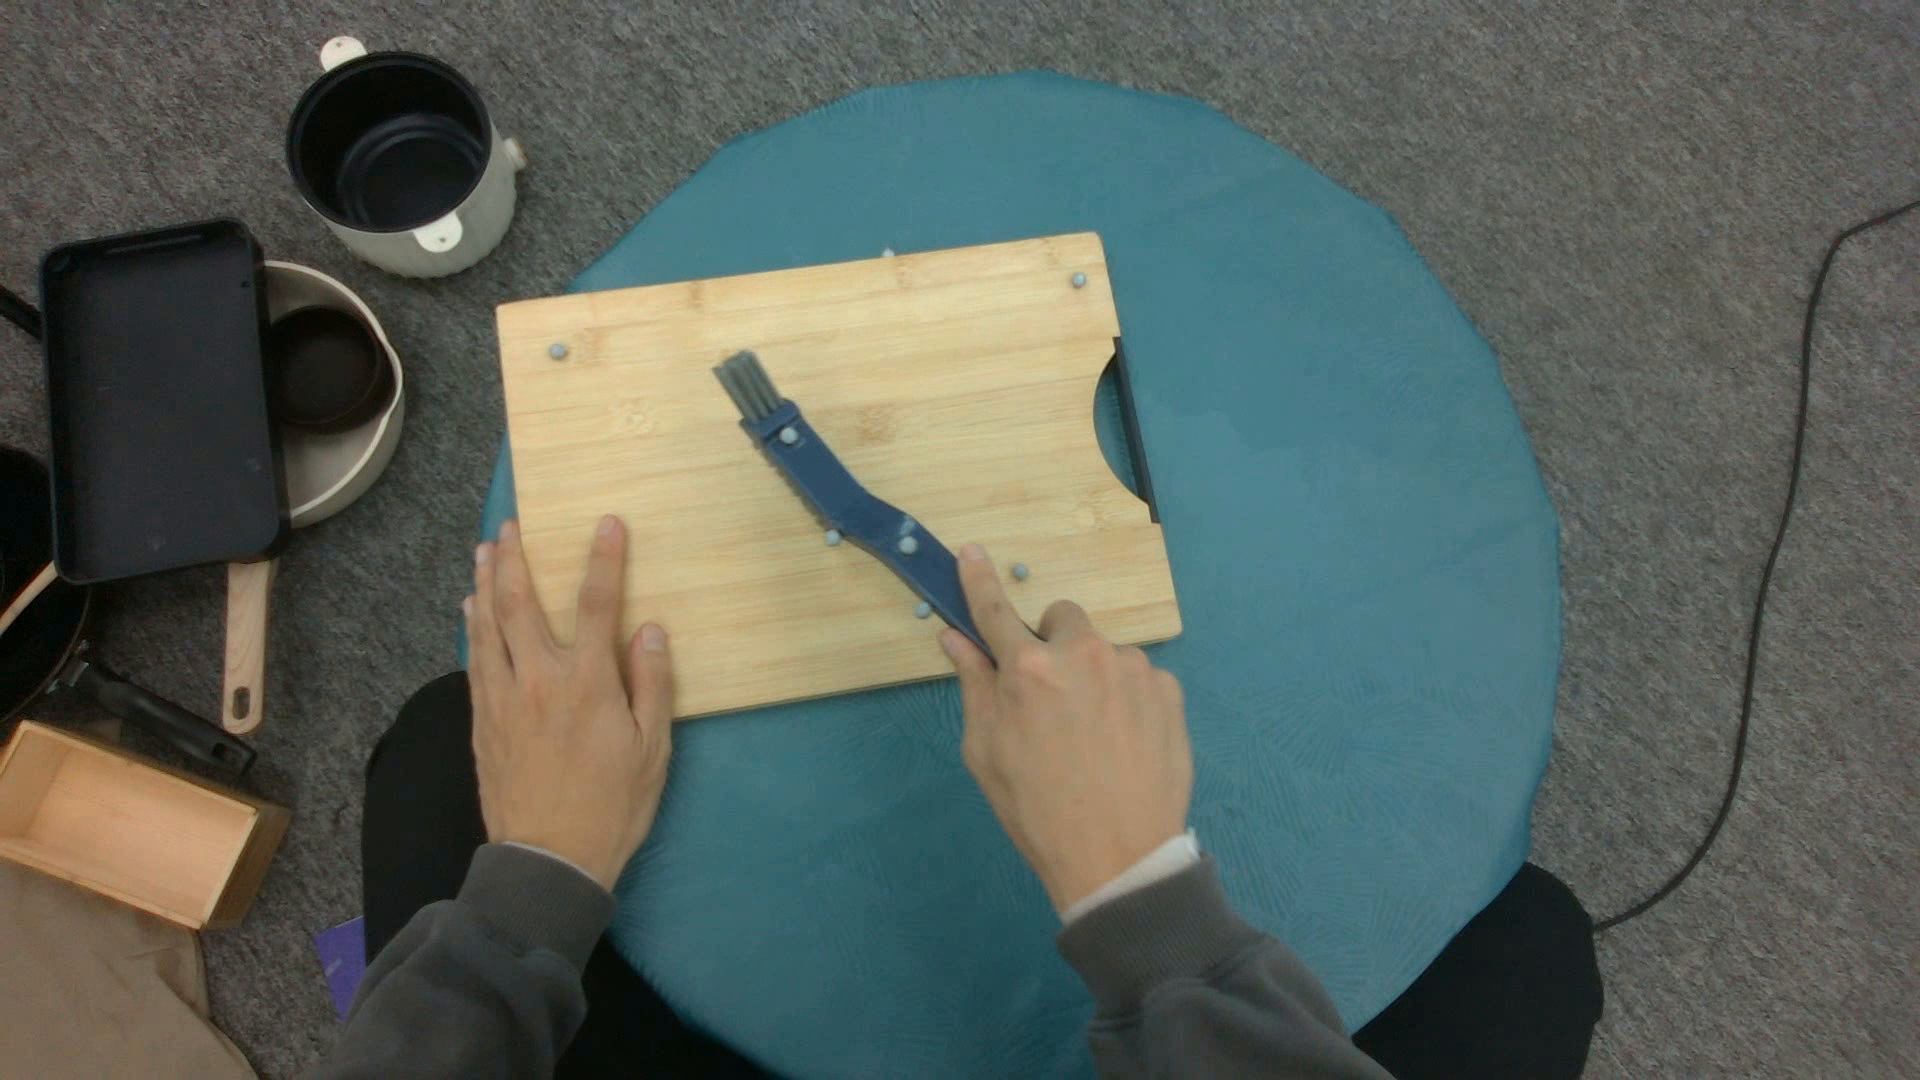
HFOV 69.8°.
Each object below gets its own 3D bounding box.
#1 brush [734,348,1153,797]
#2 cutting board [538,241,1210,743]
[{"bbox_3d":[-0.016,0.011,0.659,0.033,0.095,0.273,-37,58,-23],"label":"brush"},{"bbox_3d":[-0.054,-0.033,0.771,0.349,0.023,0.251,-10,77,-6],"label":"cutting board"}]
